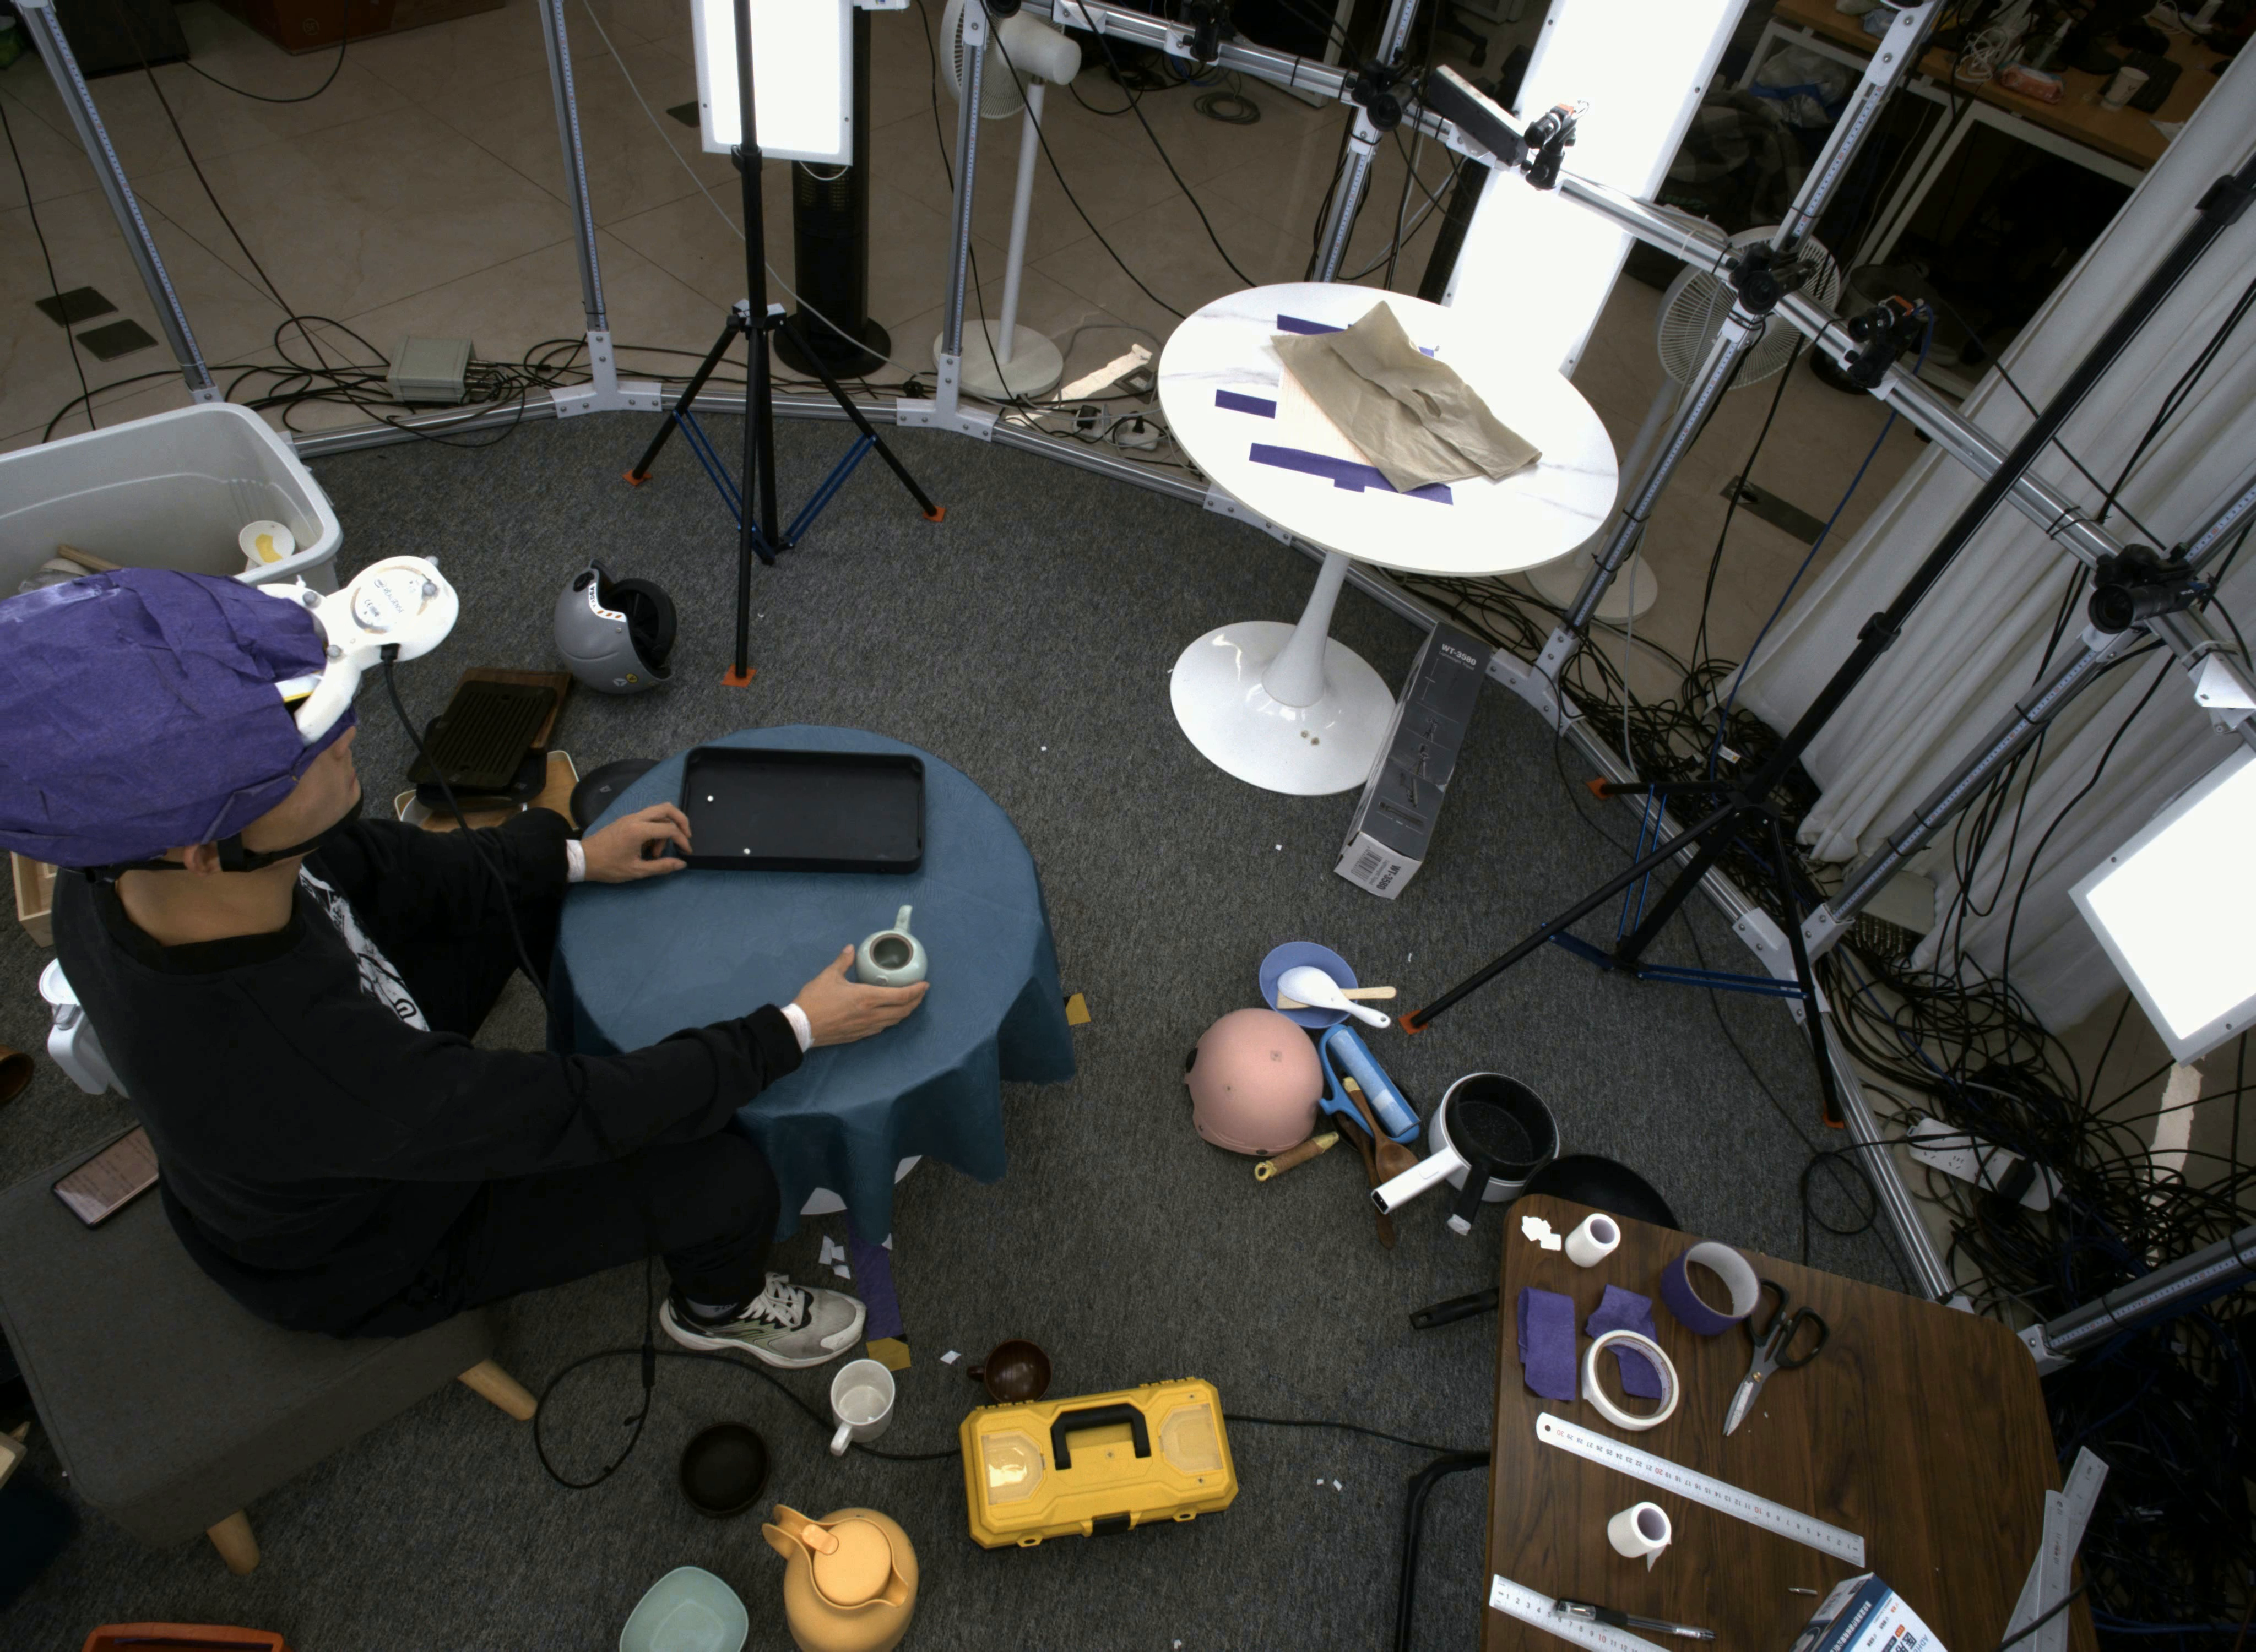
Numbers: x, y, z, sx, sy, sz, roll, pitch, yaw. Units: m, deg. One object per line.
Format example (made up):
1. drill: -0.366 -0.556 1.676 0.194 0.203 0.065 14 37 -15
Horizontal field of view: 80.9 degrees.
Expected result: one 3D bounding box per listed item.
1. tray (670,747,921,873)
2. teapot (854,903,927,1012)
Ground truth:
1. tray: -0.435 -0.023 1.713 0.318 0.038 0.180 0 54 -15
2. teapot: -0.289 0.166 1.585 0.087 0.076 0.142 16 50 0
